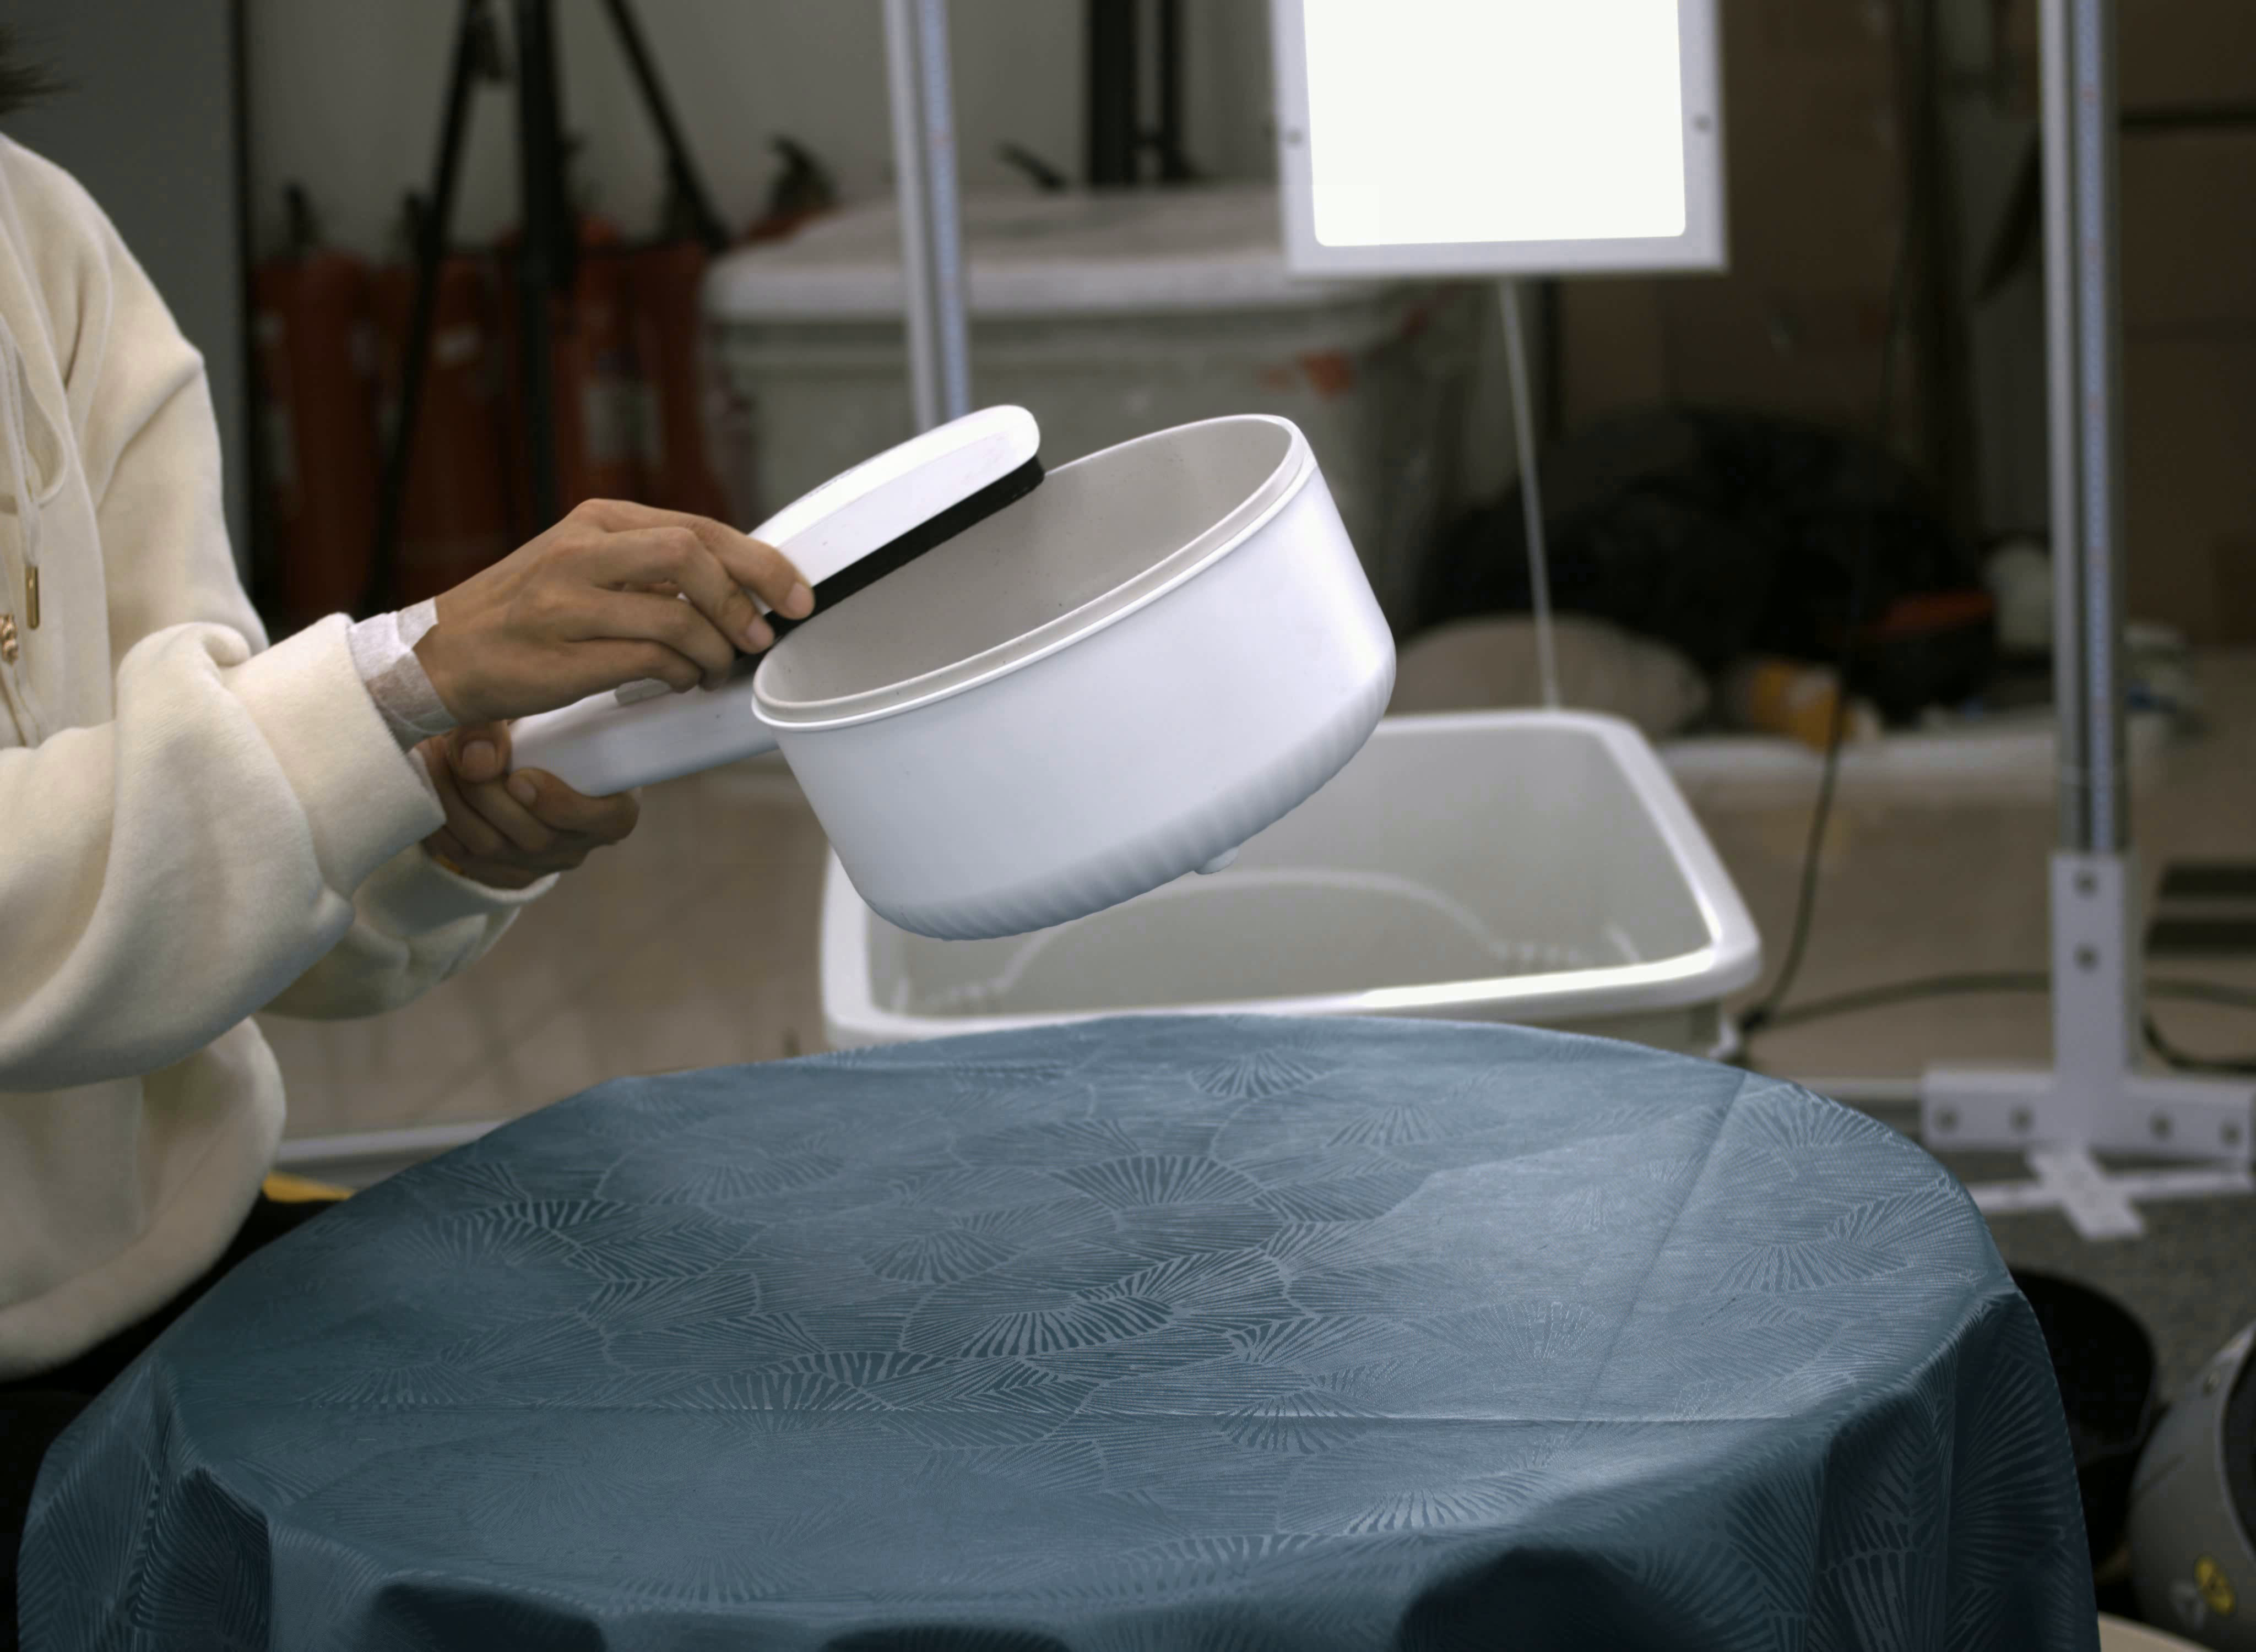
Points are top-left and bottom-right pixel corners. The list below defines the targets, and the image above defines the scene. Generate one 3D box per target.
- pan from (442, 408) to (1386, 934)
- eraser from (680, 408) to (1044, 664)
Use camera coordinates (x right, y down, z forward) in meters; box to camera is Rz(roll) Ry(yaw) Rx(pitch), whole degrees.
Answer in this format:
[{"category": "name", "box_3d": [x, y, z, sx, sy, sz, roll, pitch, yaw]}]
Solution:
[{"category": "pan", "box_3d": [-0.075, -0.027, 1.830, 0.362, 0.102, 0.197, -17, 17, 36]}, {"category": "eraser", "box_3d": [-0.090, -0.100, 1.840, 0.131, 0.034, 0.063, -30, 10, 1]}]
